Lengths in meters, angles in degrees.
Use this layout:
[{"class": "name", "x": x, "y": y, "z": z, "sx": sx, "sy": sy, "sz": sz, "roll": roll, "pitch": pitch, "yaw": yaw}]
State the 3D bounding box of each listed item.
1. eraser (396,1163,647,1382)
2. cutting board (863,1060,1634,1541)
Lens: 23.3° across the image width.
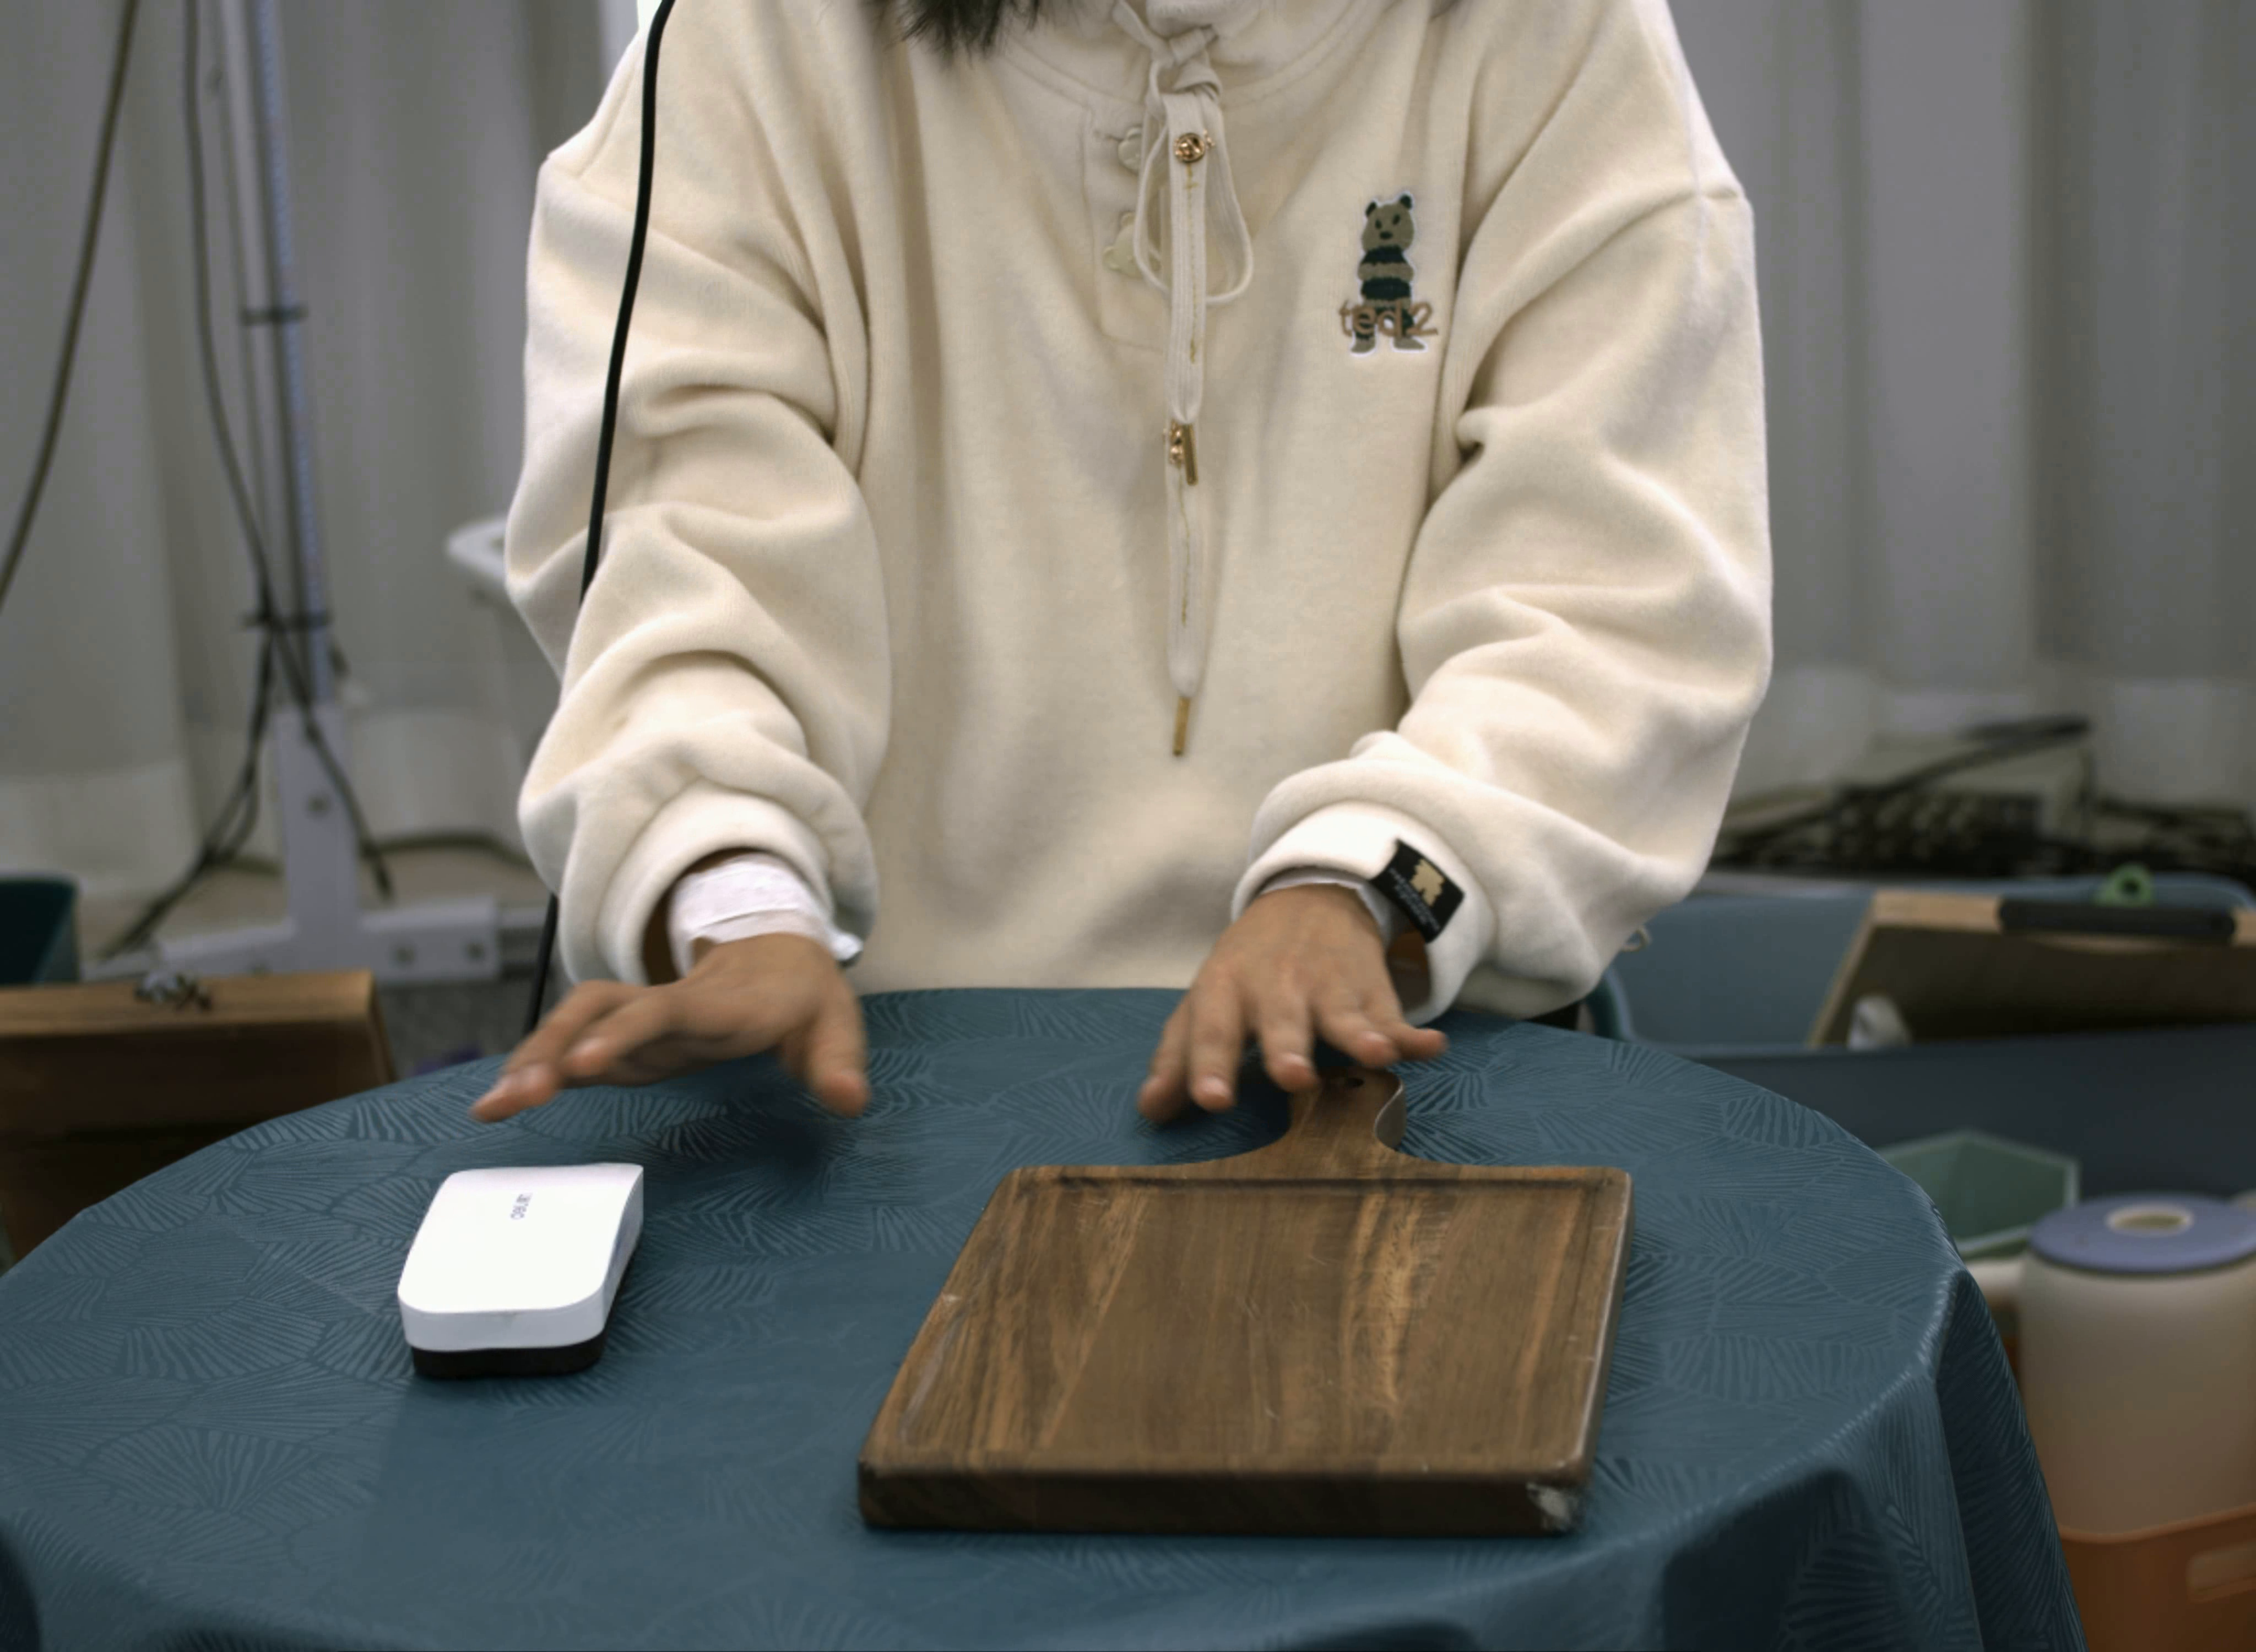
[{"class": "eraser", "x": -0.178, "y": 0.129, "z": 1.636, "sx": 0.063, "sy": 0.034, "sz": 0.132, "roll": -3, "pitch": 15, "yaw": 4}, {"class": "cutting board", "x": 0.047, "y": 0.132, "z": 1.599, "sx": 0.200, "sy": 0.023, "sz": 0.354, "roll": 0, "pitch": 15, "yaw": 8}]
